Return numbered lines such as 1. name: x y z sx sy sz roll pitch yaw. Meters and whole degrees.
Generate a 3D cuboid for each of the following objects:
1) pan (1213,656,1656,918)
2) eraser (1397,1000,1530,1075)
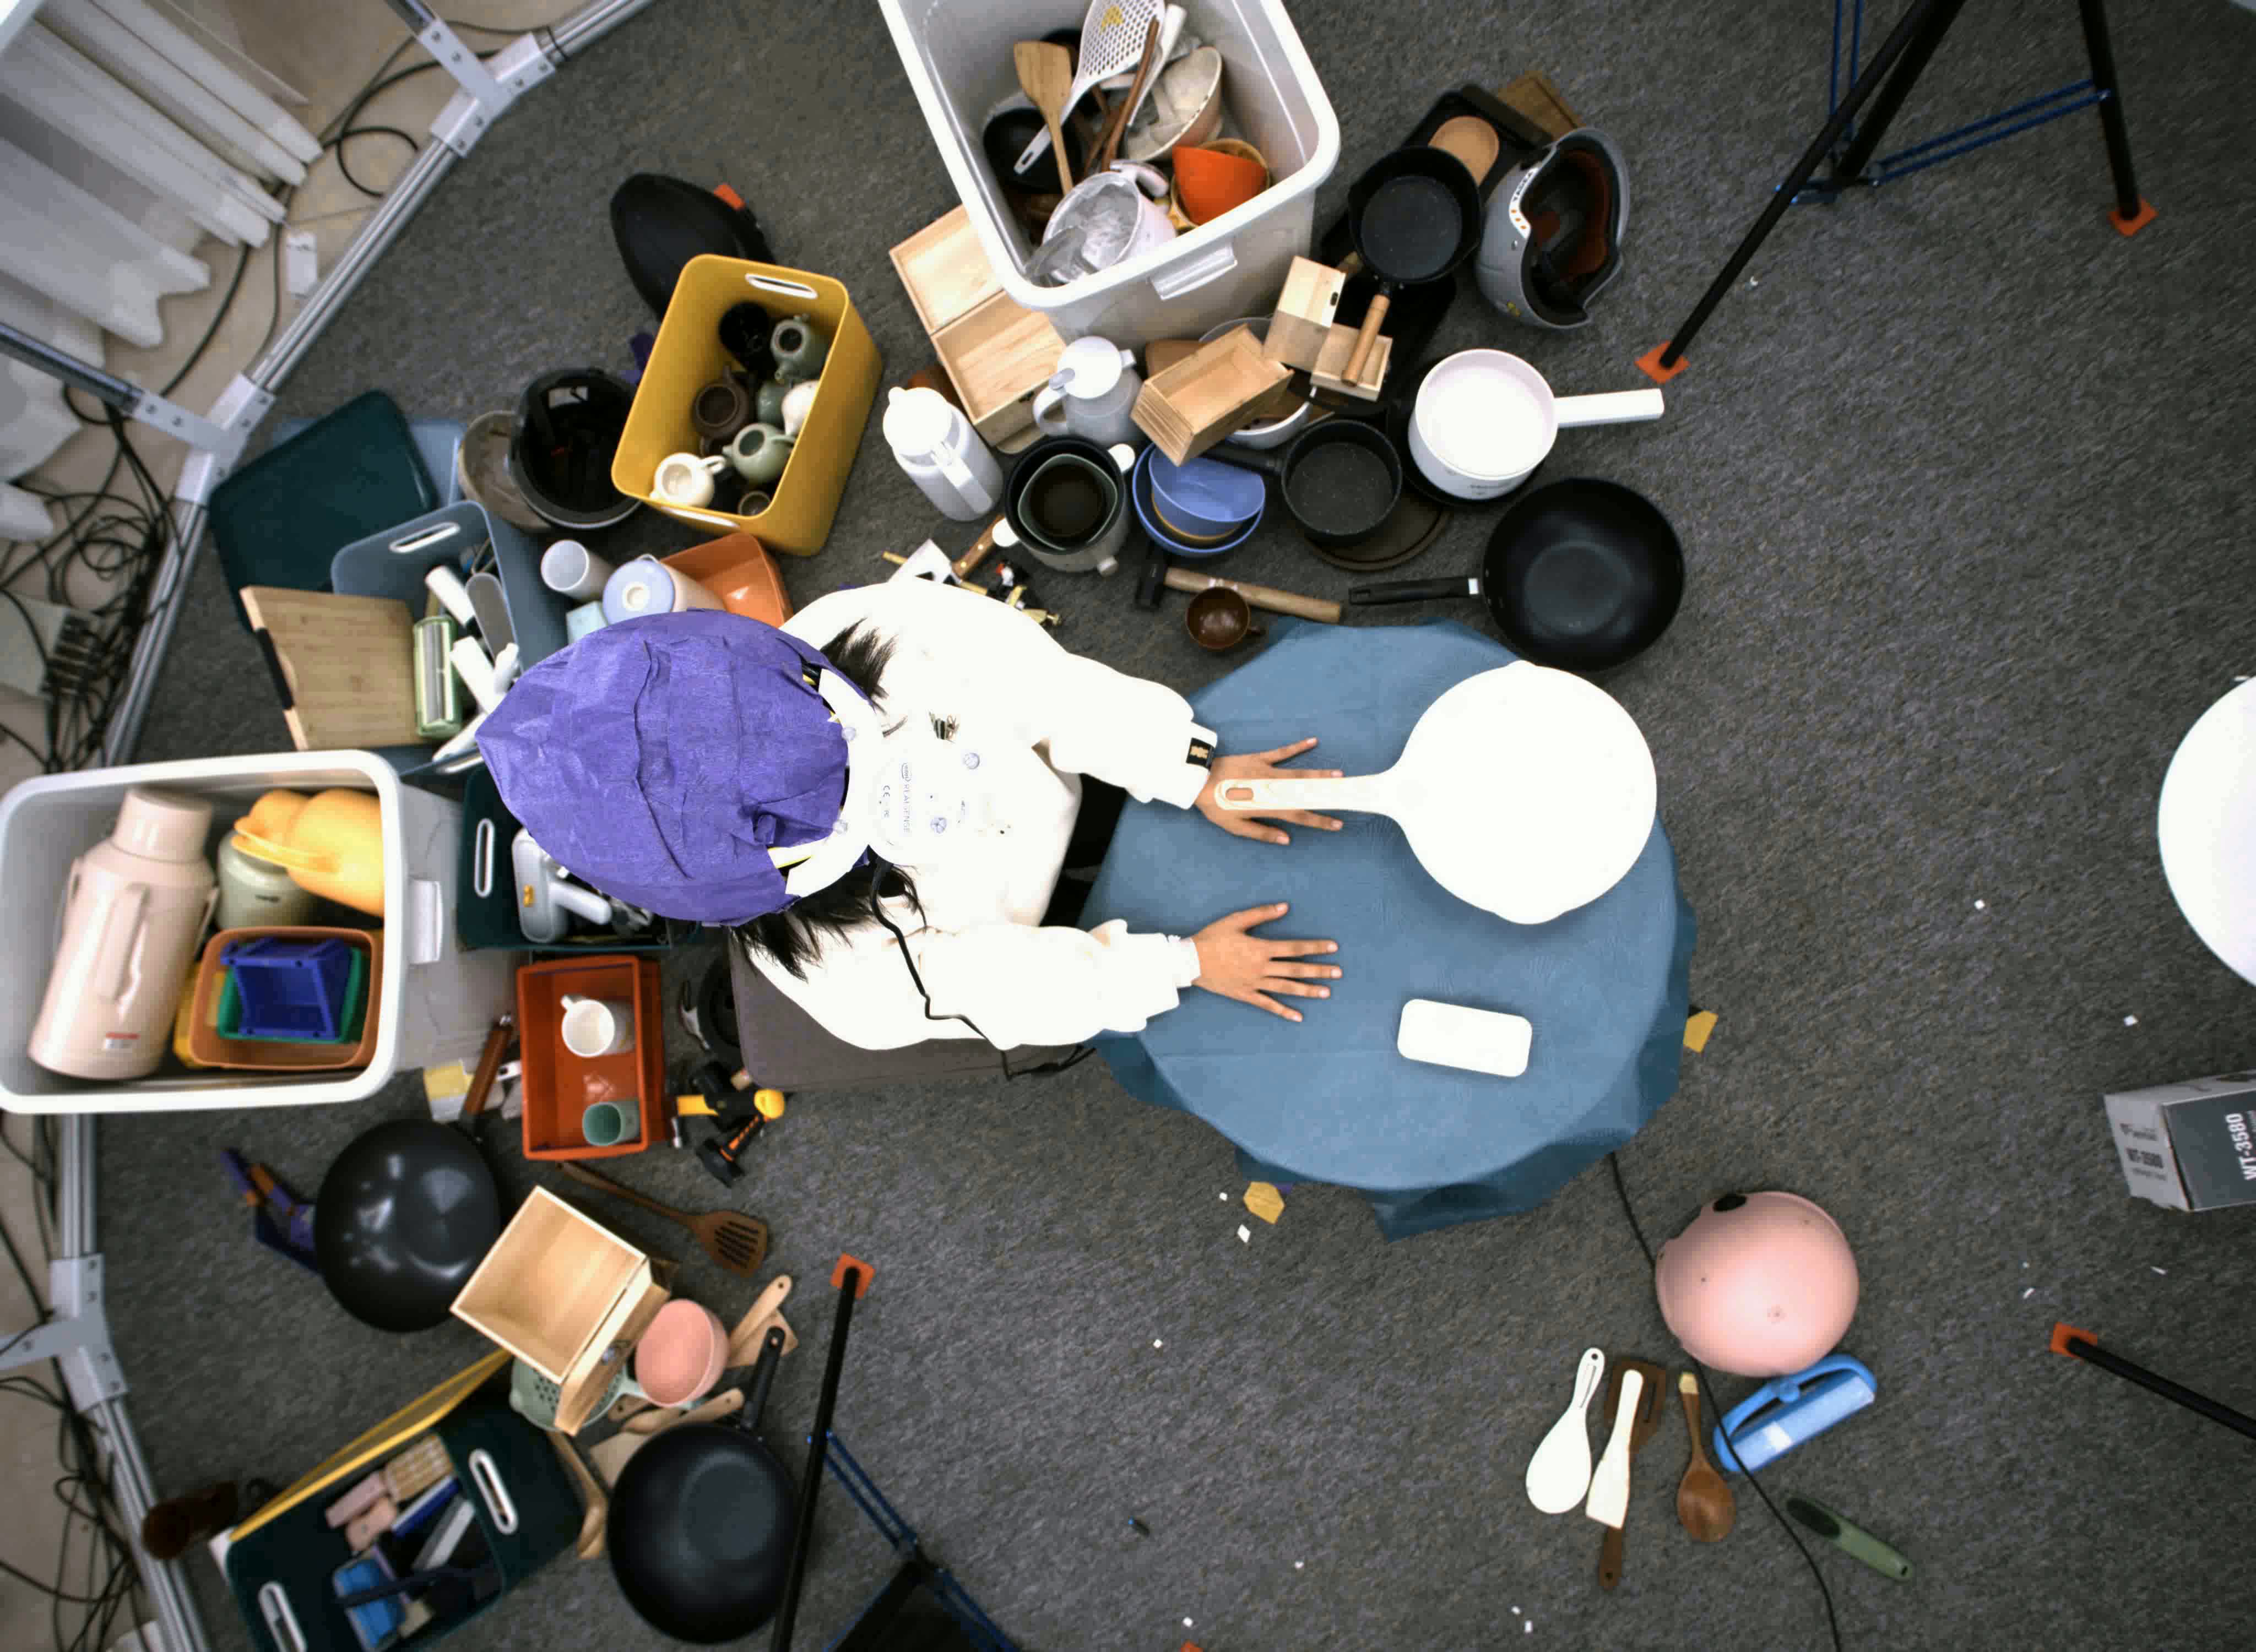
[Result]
1. pan: 0.308 -0.035 1.407 0.436 0.102 0.262 -2 87 10
2. eraser: 0.346 0.215 1.423 0.131 0.034 0.063 9 85 11
